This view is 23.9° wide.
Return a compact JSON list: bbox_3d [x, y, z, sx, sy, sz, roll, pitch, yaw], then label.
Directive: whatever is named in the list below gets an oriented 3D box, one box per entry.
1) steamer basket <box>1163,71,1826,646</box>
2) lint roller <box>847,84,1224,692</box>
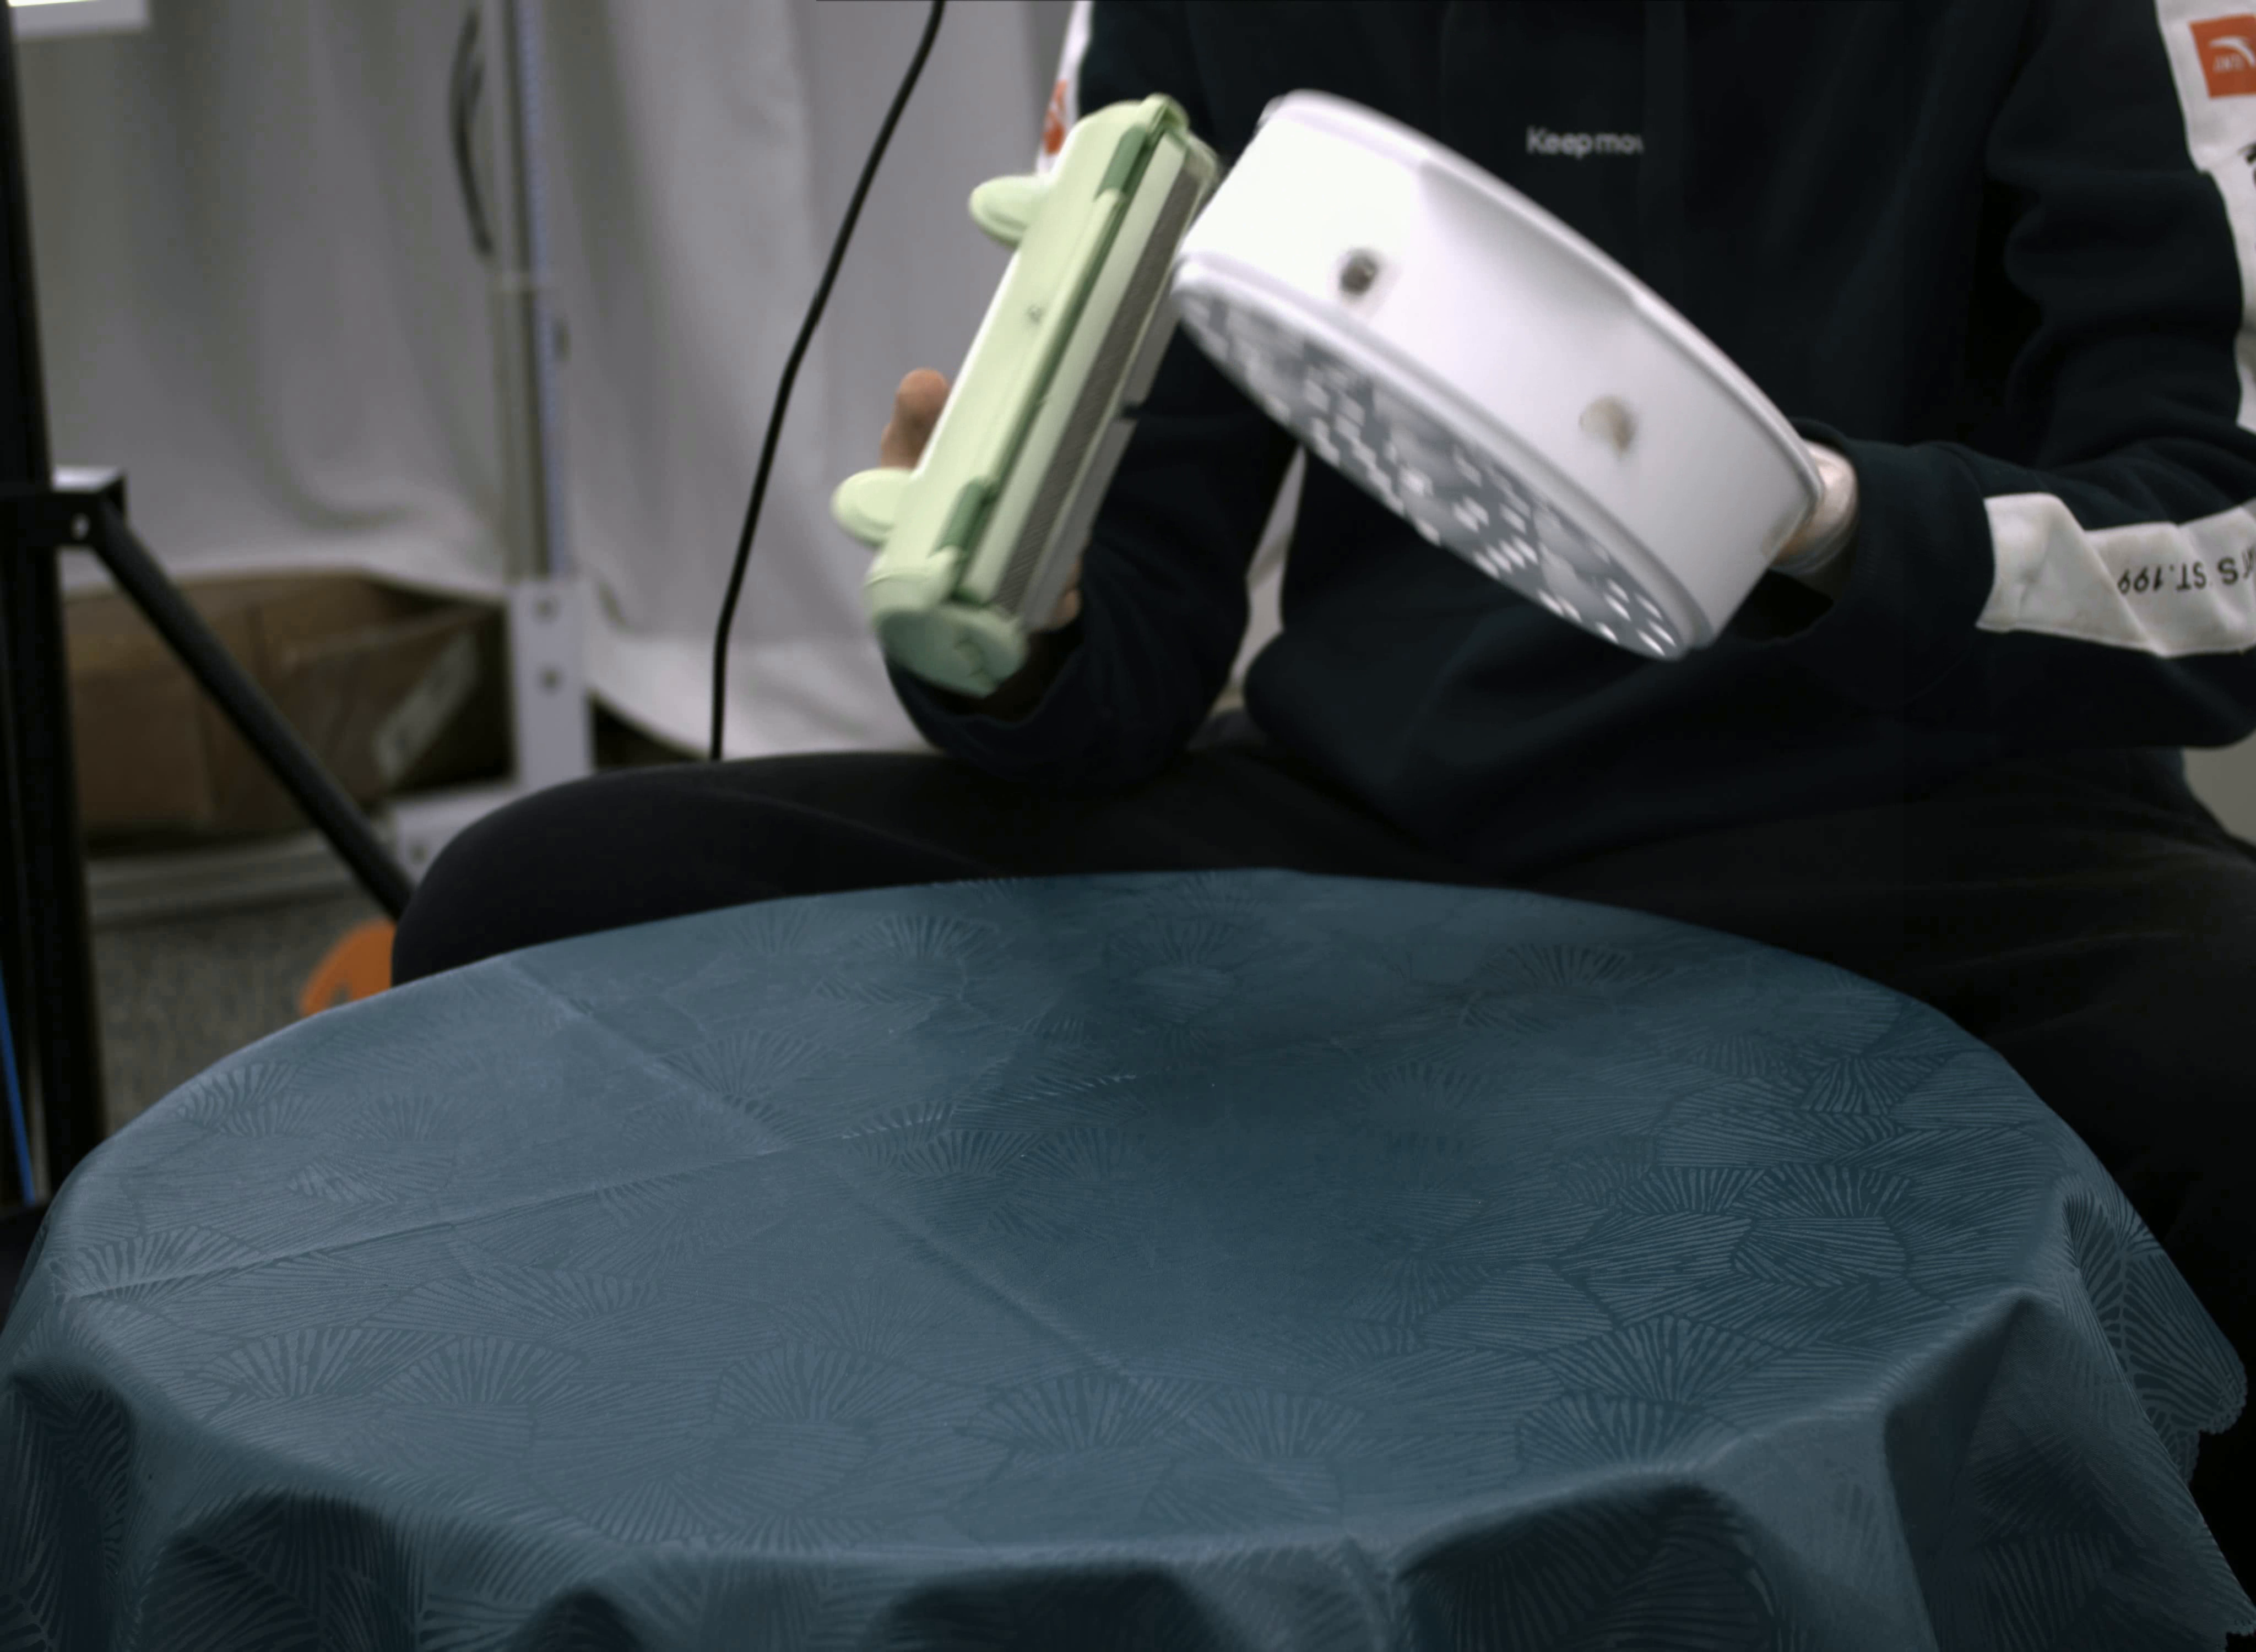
[{"bbox_3d":[0.104,-0.131,1.543,0.203,0.069,0.228,36,-3,11],"label":"steamer basket"},{"bbox_3d":[-0.045,-0.125,1.730,0.081,0.199,0.184,25,-24,-8],"label":"lint roller"}]
